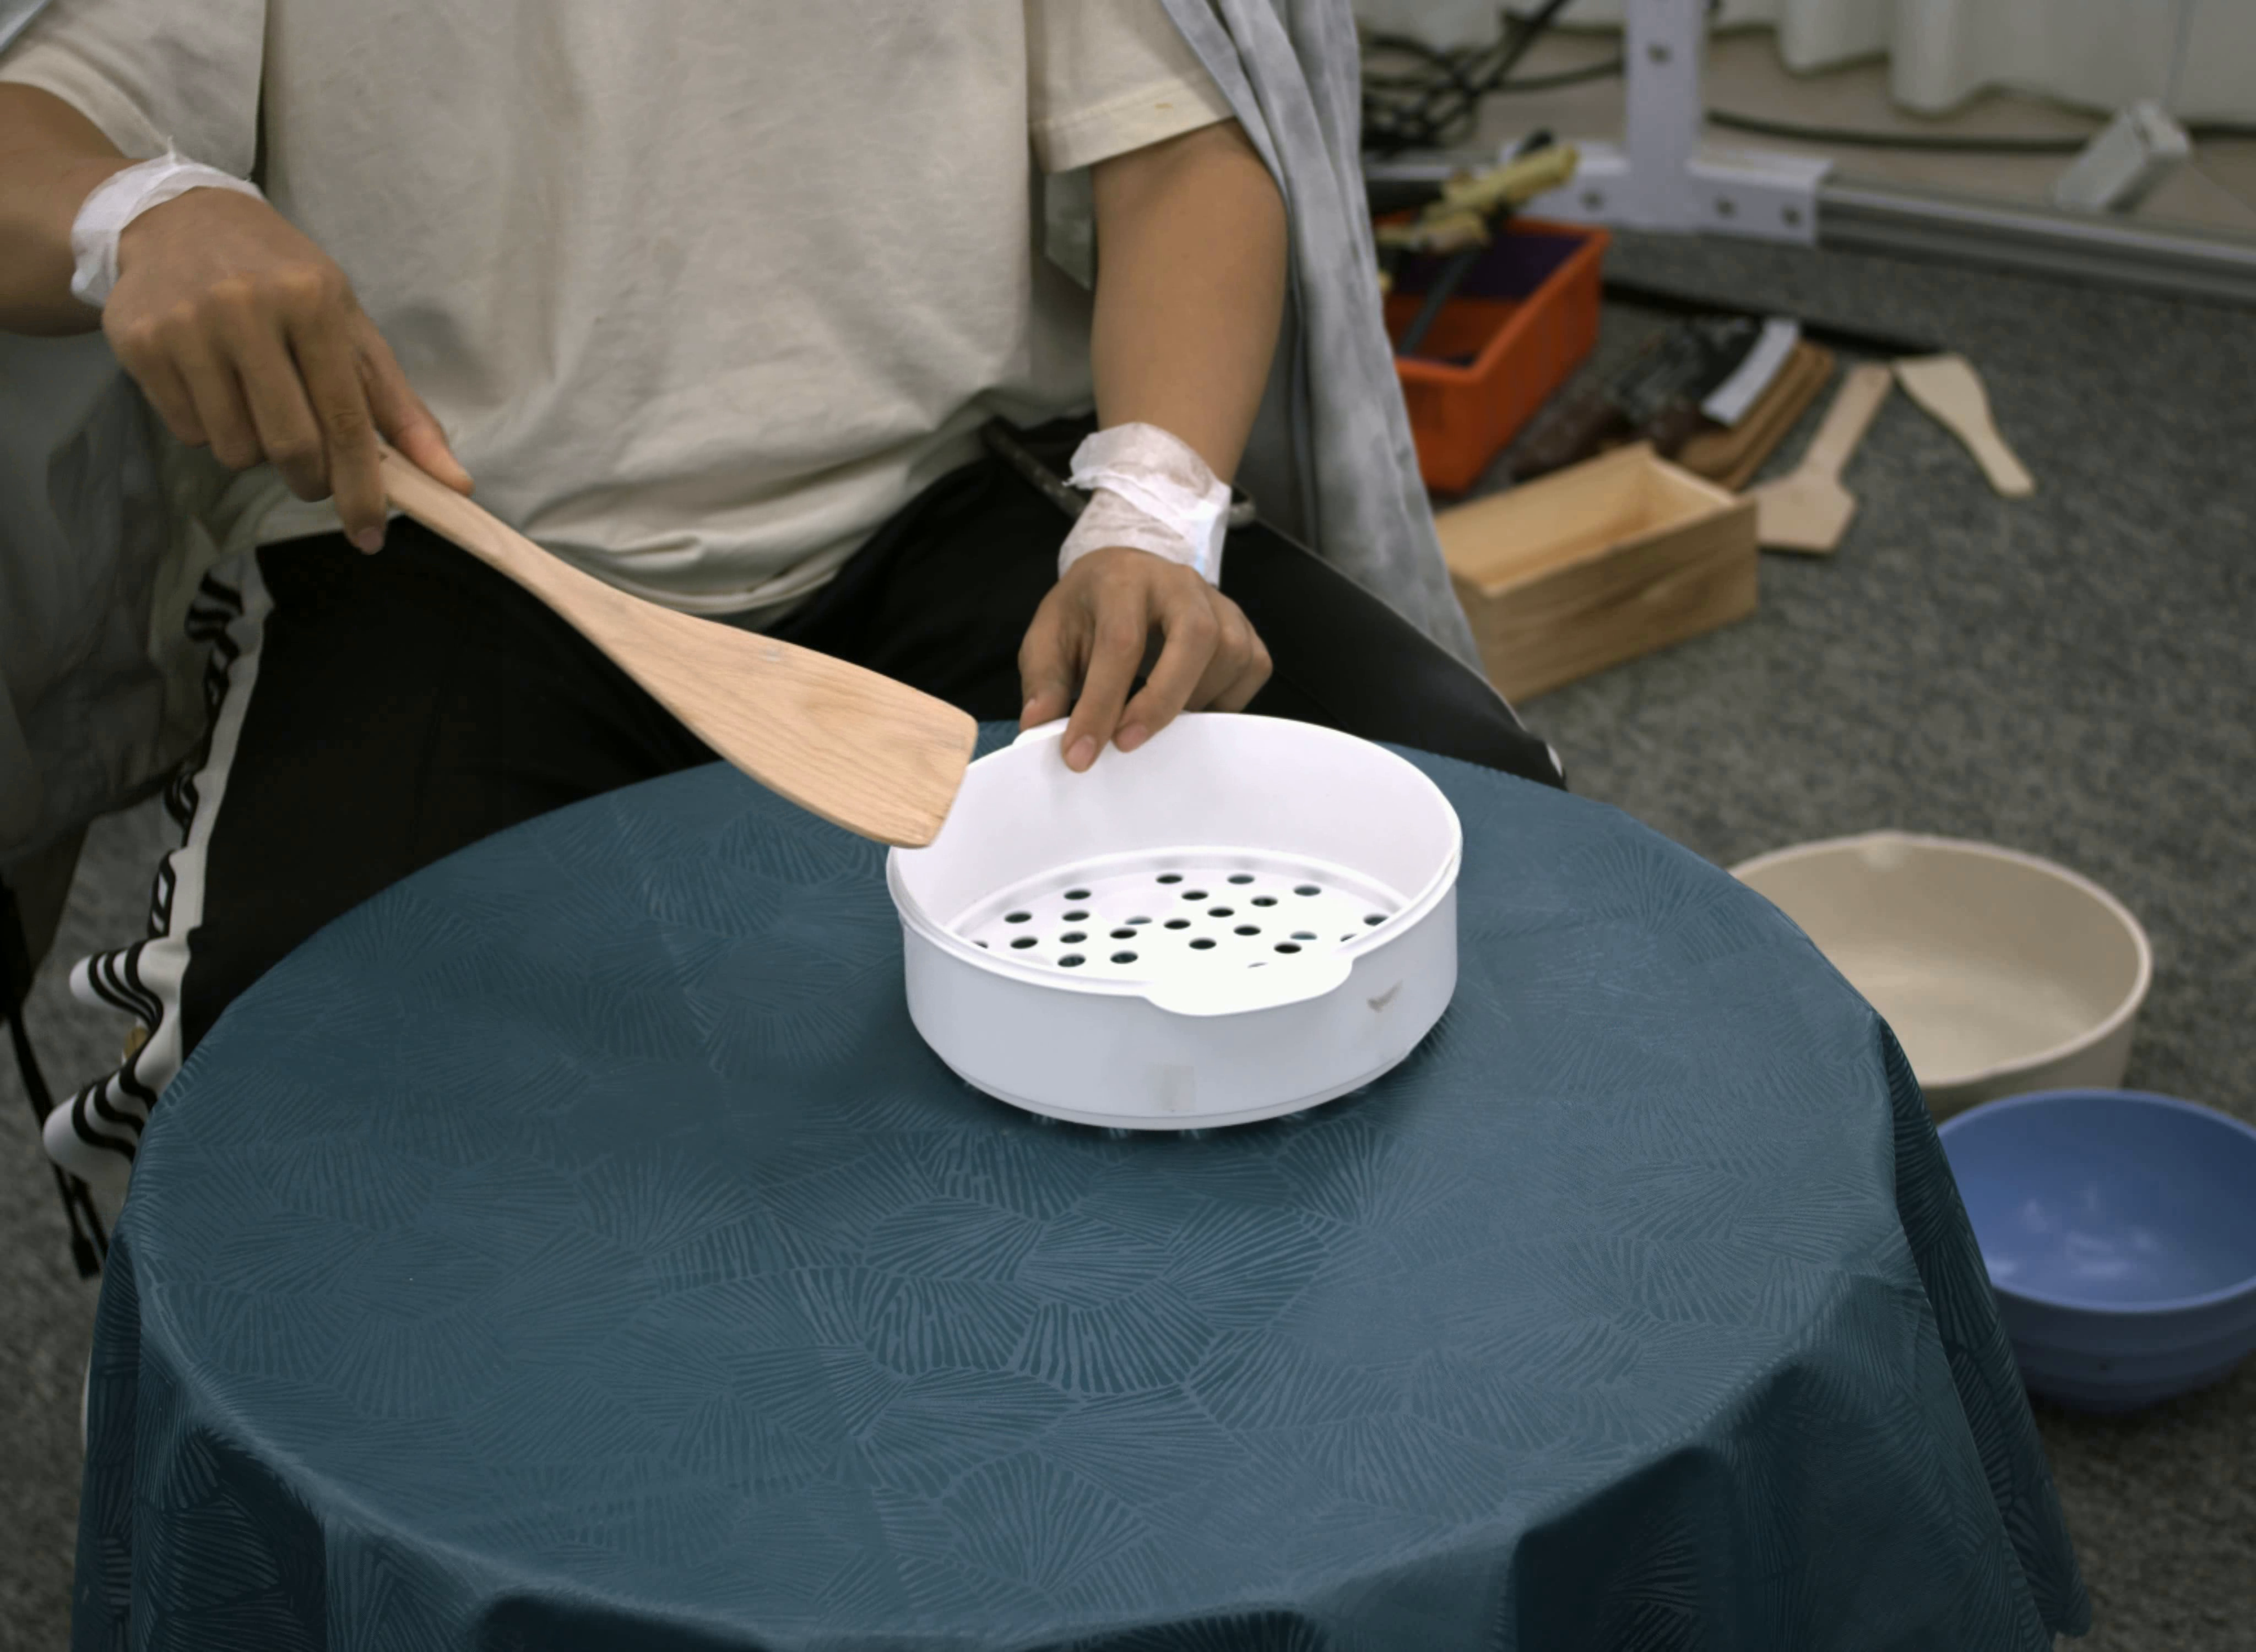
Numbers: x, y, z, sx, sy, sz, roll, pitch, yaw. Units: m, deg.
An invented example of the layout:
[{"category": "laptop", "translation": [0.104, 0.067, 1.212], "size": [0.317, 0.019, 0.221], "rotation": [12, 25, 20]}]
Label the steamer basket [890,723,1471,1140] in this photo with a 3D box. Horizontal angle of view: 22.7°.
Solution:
[{"category": "steamer basket", "translation": [0.019, 0.038, 1.951], "size": [0.202, 0.068, 0.233], "rotation": [-8, 26, -12]}]

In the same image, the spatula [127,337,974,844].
[{"category": "spatula", "translation": [-0.197, -0.087, 1.909], "size": [0.327, 0.016, 0.081], "rotation": [29, 40, 7]}]
